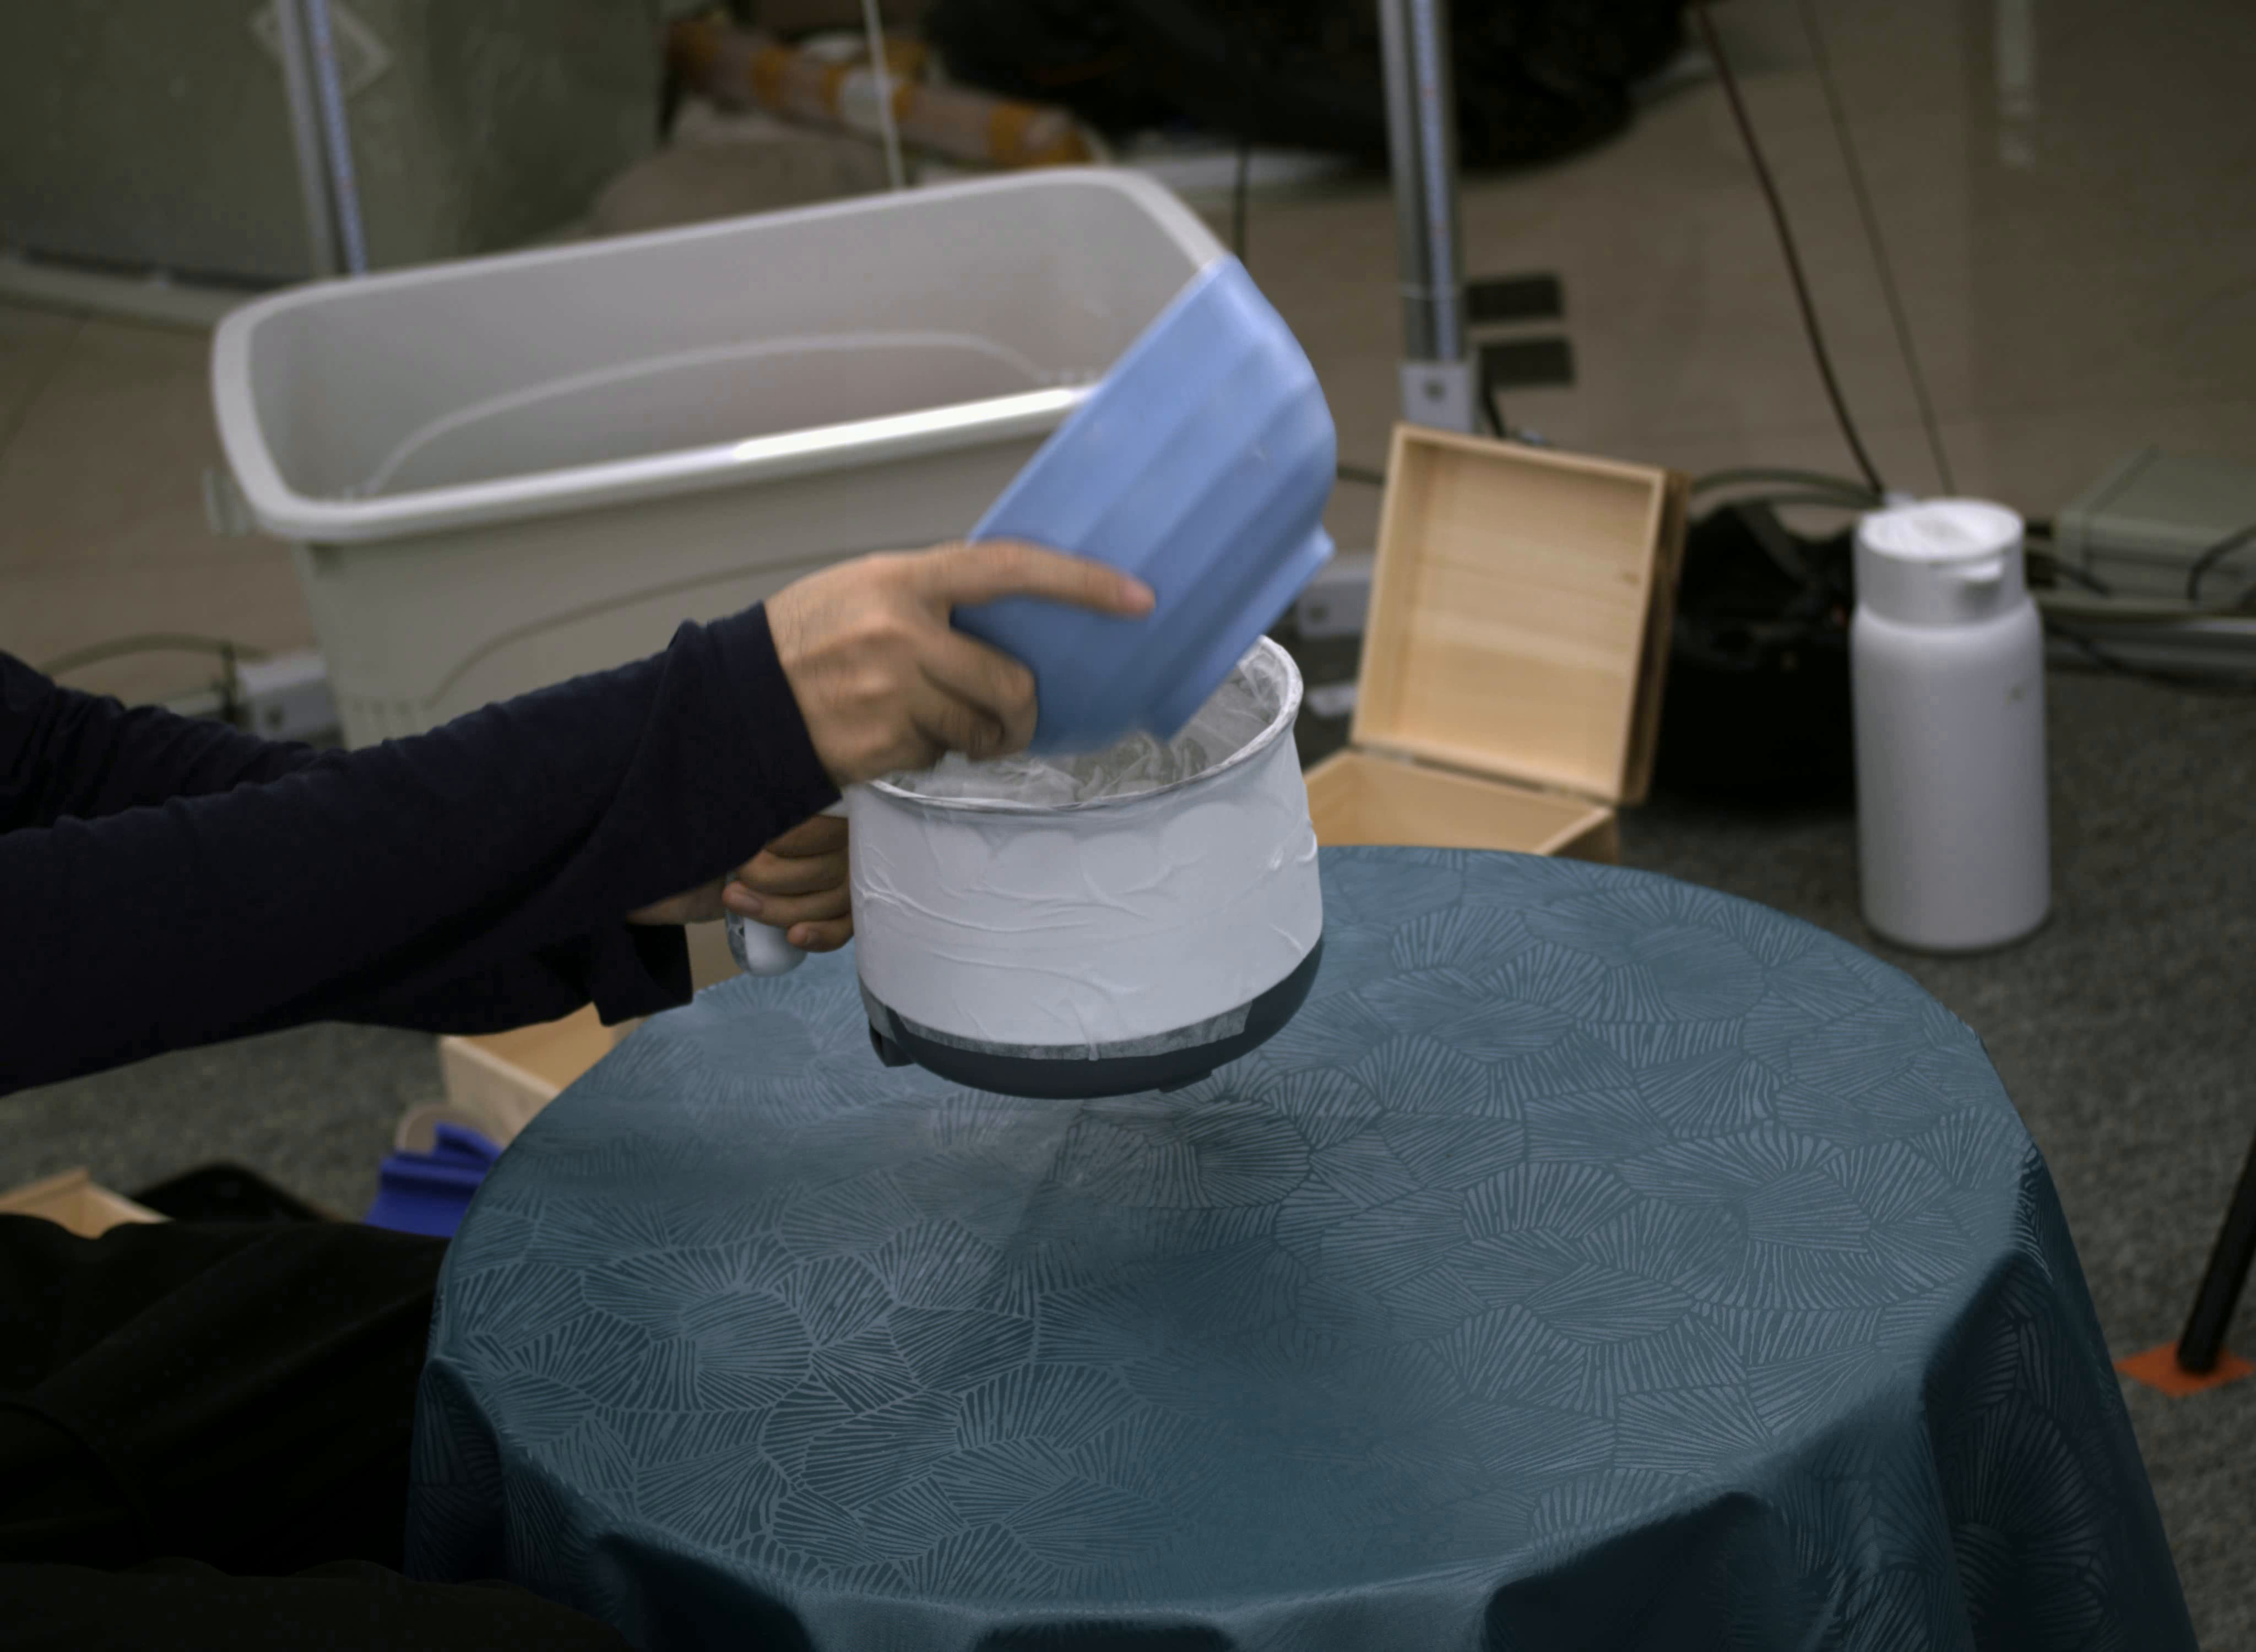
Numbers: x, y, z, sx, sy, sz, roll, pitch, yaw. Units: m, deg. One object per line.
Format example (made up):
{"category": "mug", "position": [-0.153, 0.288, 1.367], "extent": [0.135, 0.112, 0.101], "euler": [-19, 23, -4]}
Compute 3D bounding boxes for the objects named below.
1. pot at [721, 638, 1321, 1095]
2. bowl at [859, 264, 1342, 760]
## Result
{"category": "pot", "position": [-0.044, 0.010, 2.130], "extent": [0.233, 0.139, 0.176], "euler": [2, 26, 15]}
{"category": "bowl", "position": [0.007, -0.091, 1.954], "extent": [0.197, 0.095, 0.196], "euler": [-46, 2, 3]}
